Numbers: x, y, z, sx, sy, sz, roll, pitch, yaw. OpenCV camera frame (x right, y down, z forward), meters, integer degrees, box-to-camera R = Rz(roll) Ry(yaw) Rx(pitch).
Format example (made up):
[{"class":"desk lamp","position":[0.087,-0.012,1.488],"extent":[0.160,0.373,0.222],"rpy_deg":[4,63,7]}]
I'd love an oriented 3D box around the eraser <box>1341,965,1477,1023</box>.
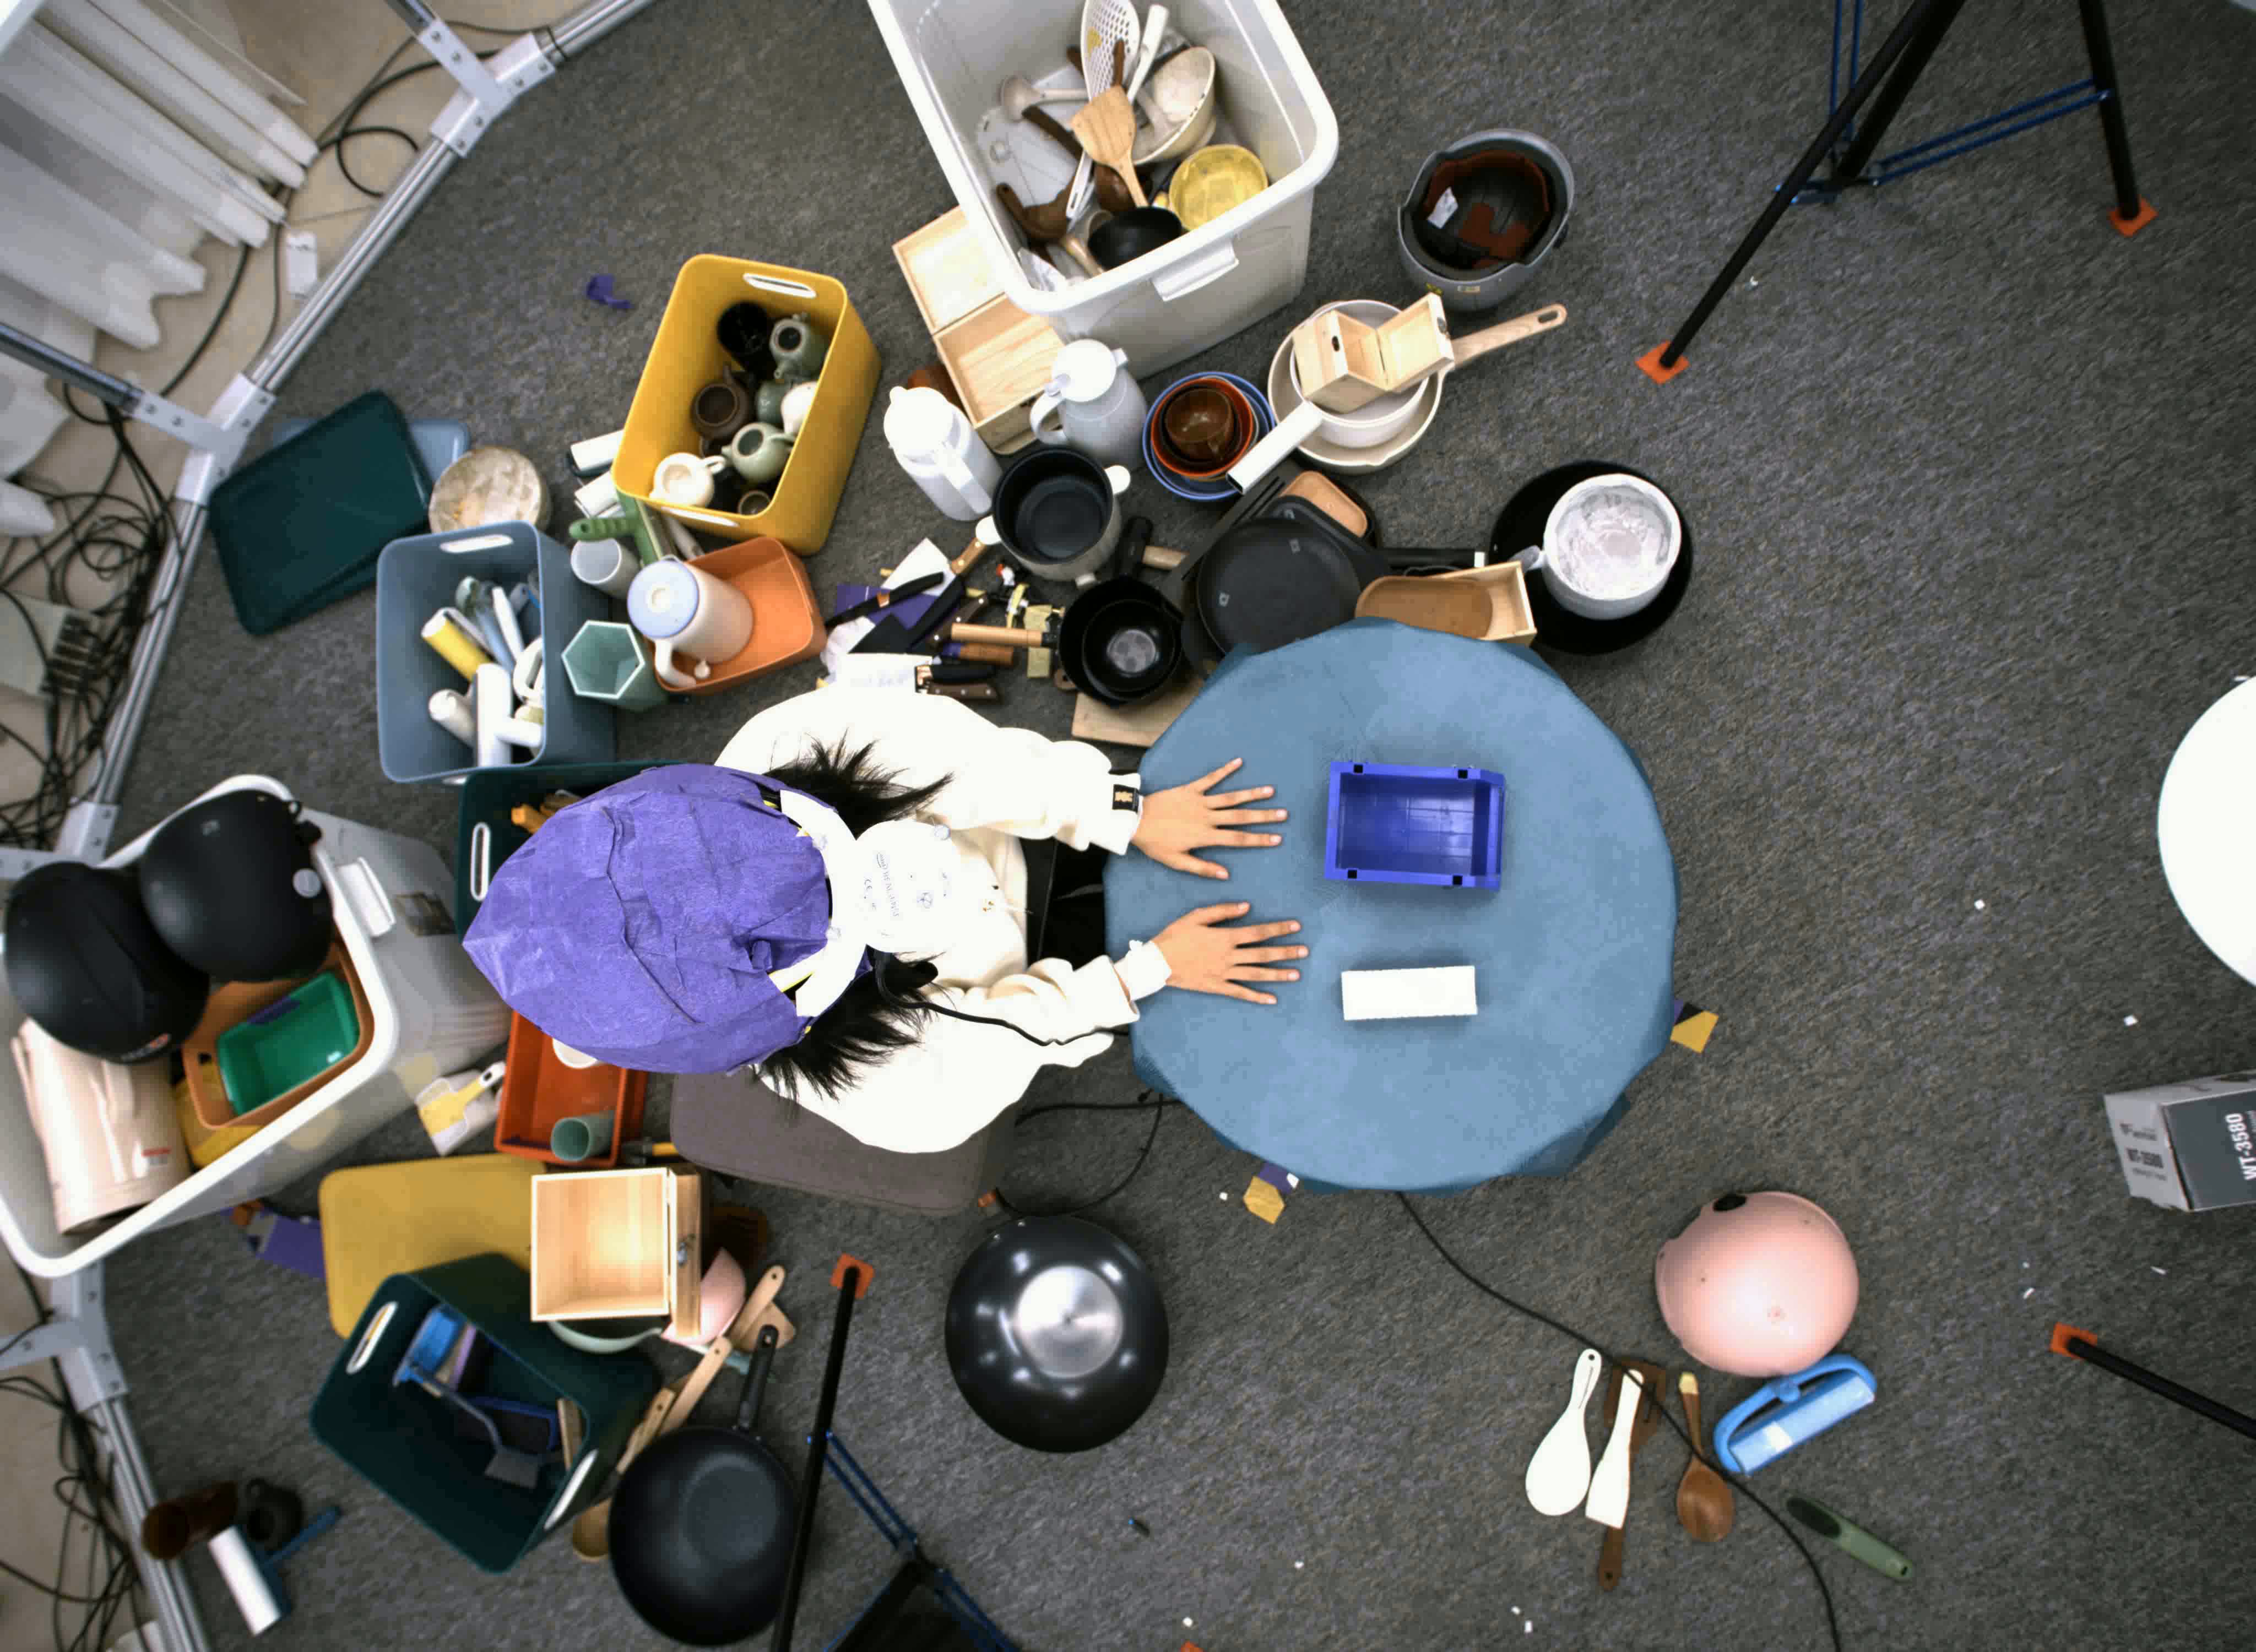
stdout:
[{"class":"eraser","position":[0.290,0.172,1.427],"extent":[0.135,0.046,0.049],"rpy_deg":[-6,86,9]}]

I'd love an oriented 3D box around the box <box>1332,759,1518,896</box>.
[{"class":"box","position":[0.307,0.000,1.416],"extent":[0.180,0.082,0.124],"rpy_deg":[5,87,12]}]
